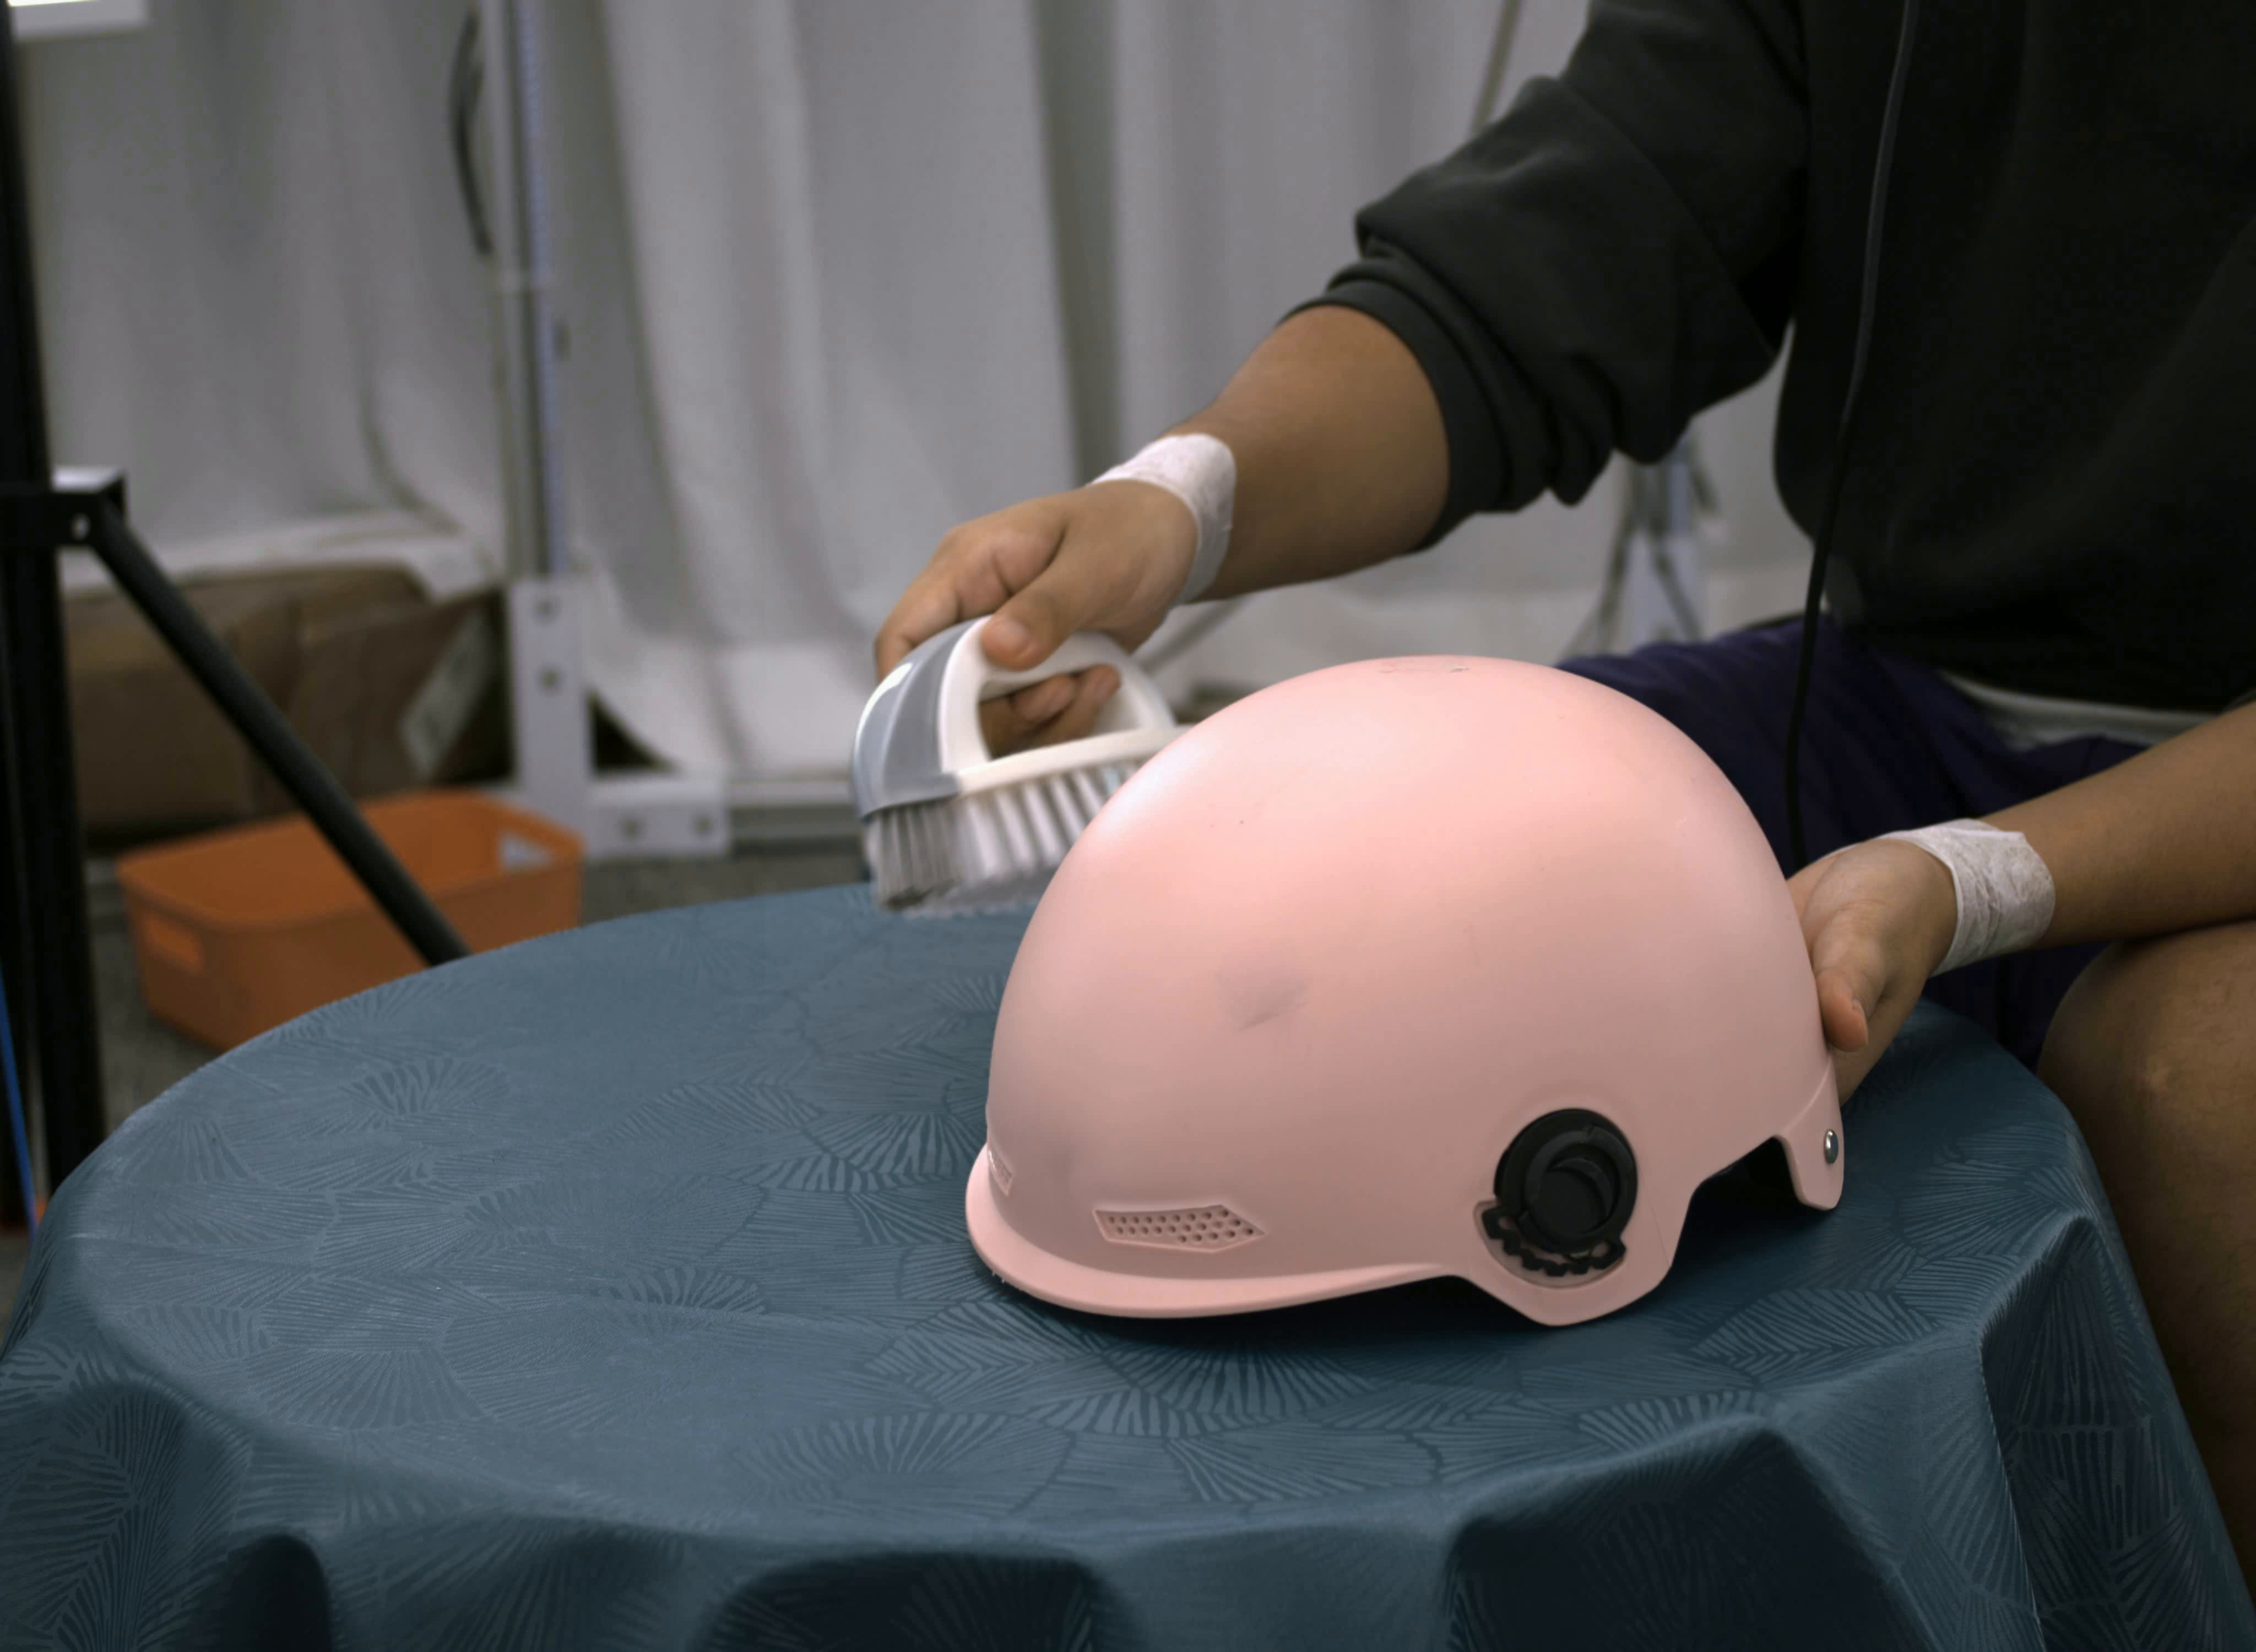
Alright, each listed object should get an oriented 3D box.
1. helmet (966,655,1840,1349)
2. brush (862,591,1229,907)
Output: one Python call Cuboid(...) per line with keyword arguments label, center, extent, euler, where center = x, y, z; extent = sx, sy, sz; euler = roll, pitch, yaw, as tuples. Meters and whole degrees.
Cuboid(label="helmet", center=(0.074, 0.039, 1.517), extent=(0.260, 0.158, 0.239), euler=(-18, 22, -31))
Cuboid(label="brush", center=(-0.033, -0.027, 1.668), extent=(0.062, 0.095, 0.172), euler=(-32, -10, 34))
